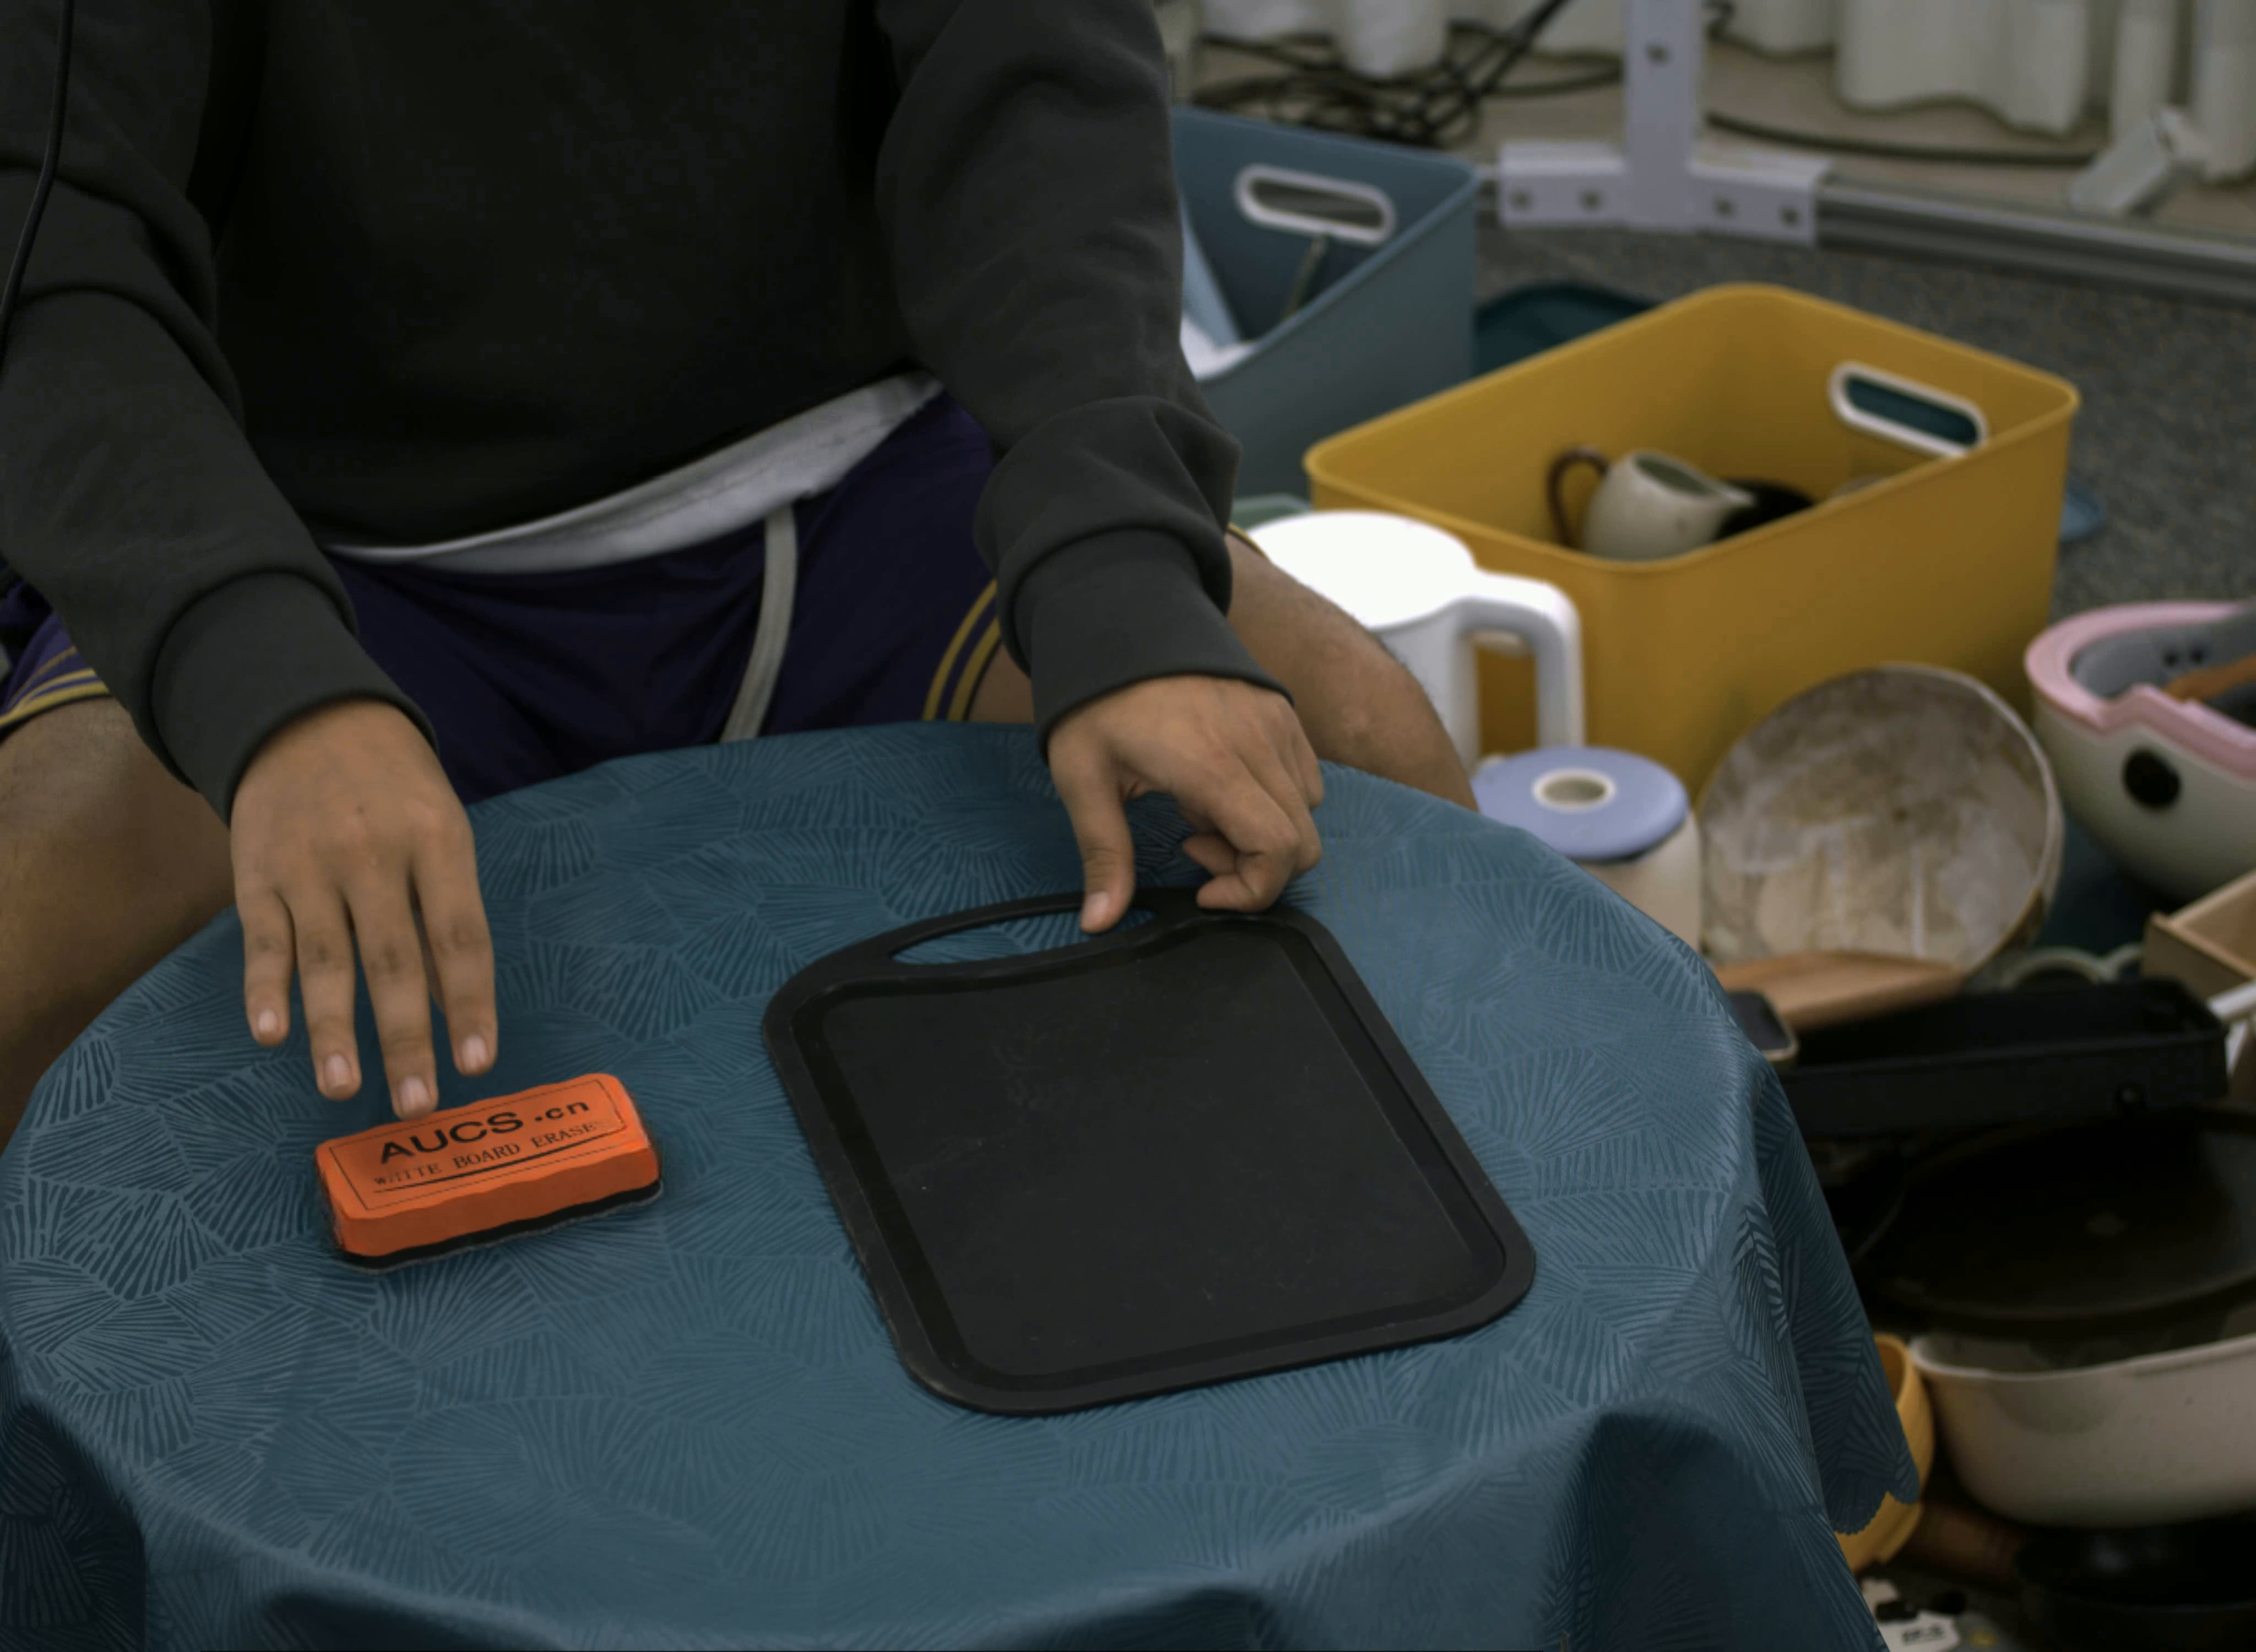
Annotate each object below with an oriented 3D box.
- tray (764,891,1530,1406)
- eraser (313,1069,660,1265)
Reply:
[{"bbox_3d":[-0.003,0.099,1.899,0.211,0.009,0.329,-9,28,-12],"label":"tray"},{"bbox_3d":[-0.213,0.113,1.867,0.108,0.022,0.059,-13,30,-21],"label":"eraser"}]
